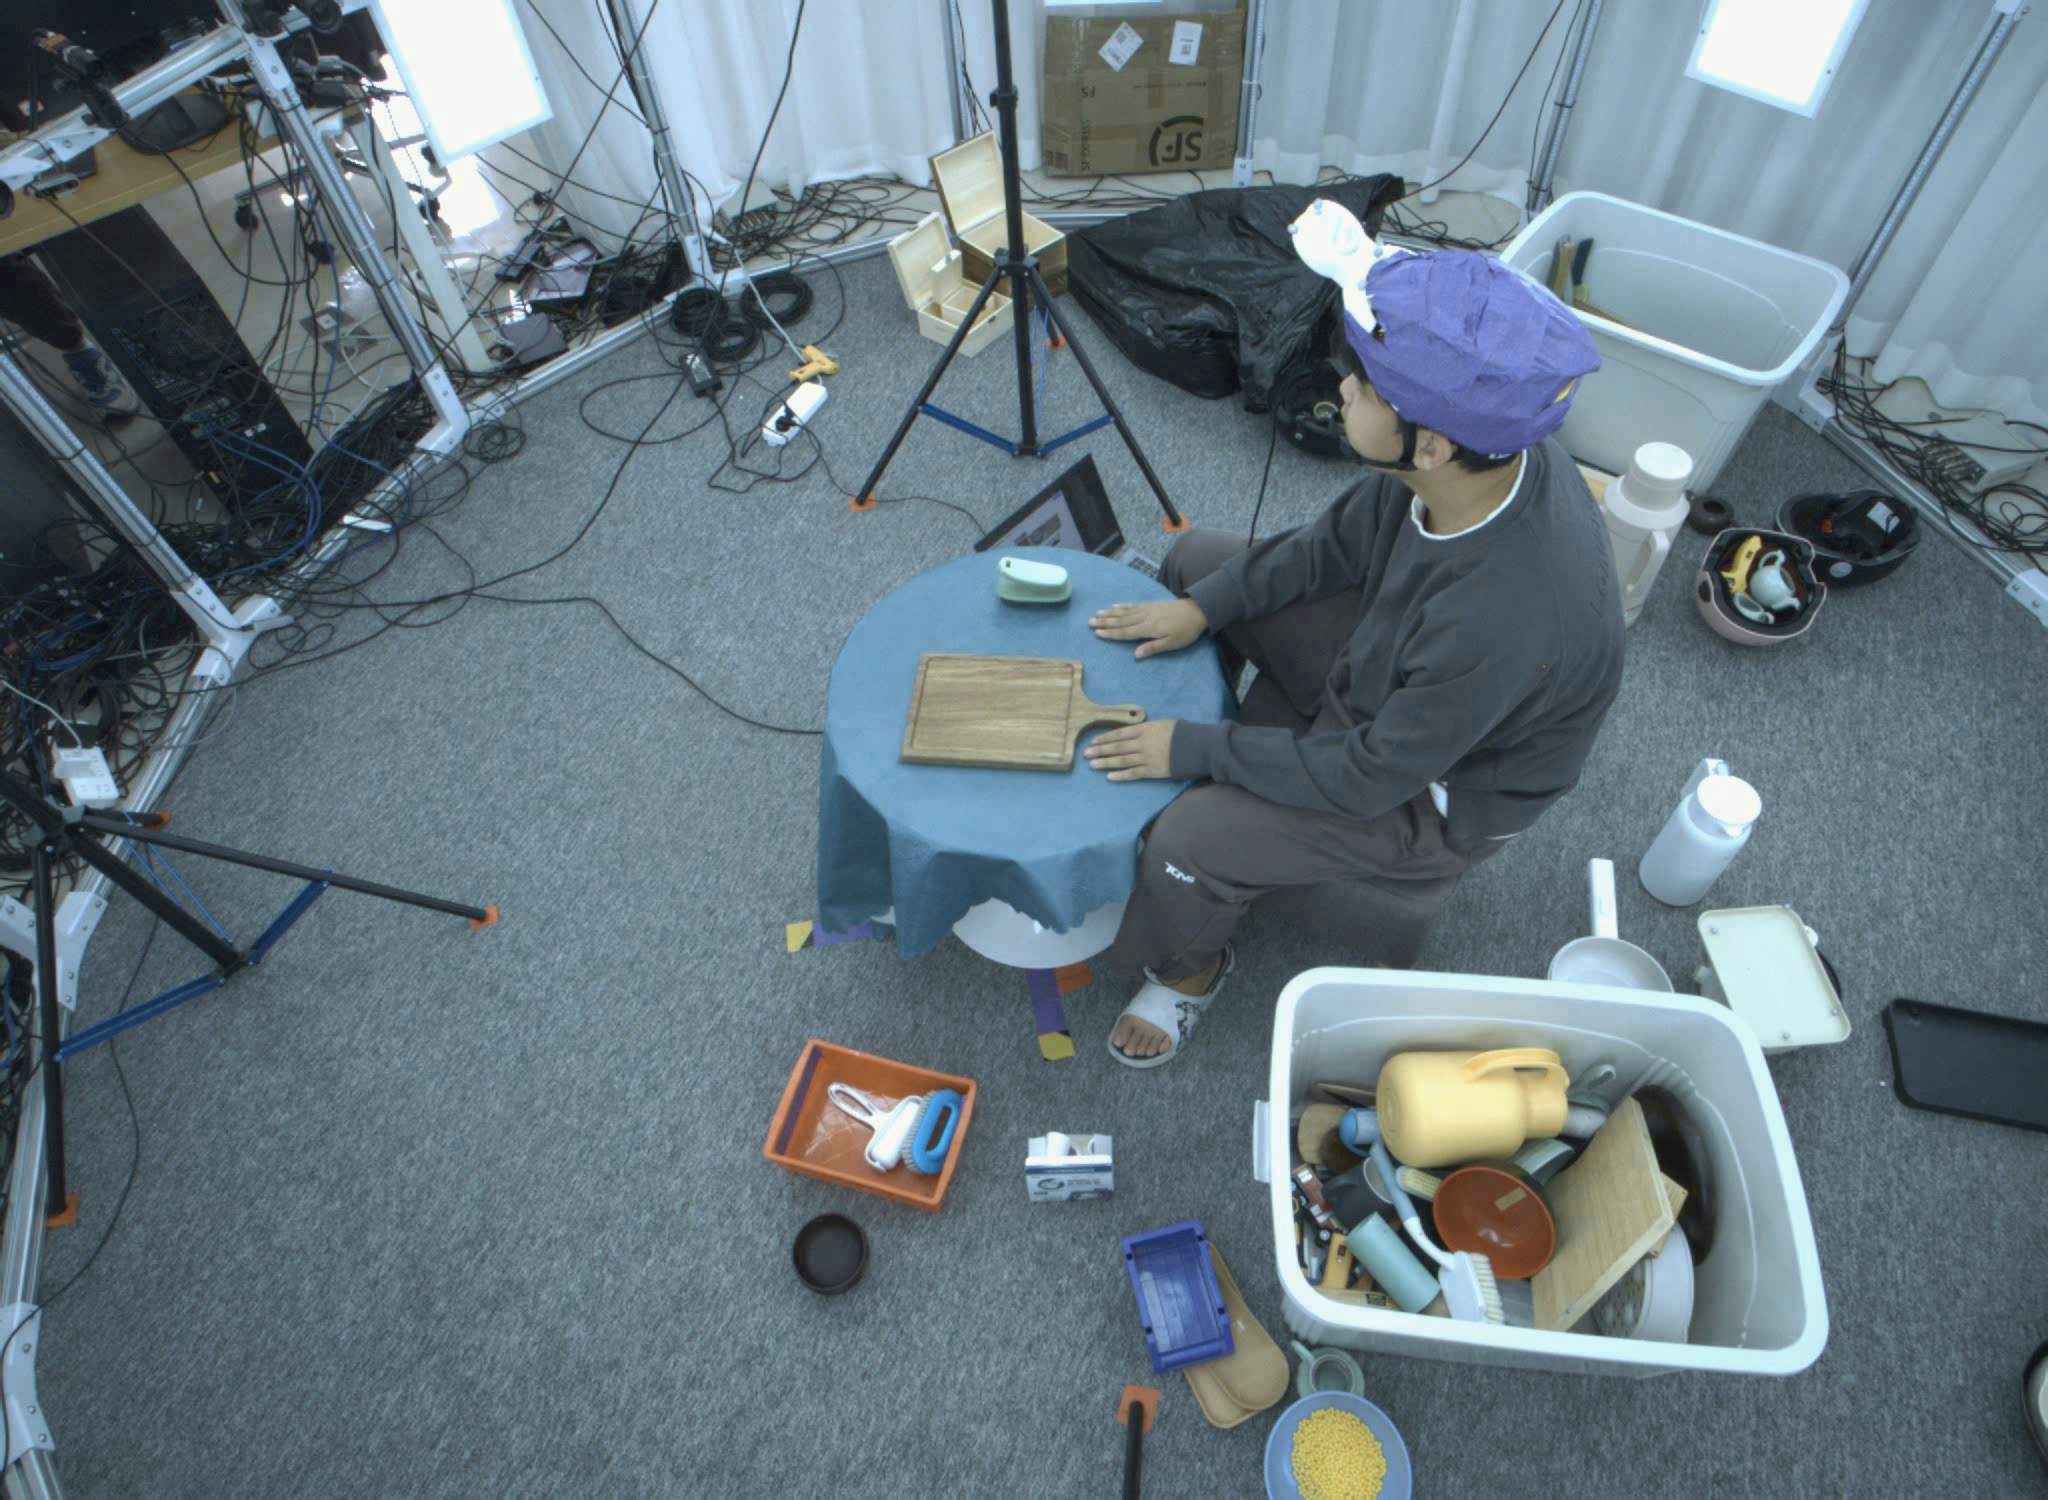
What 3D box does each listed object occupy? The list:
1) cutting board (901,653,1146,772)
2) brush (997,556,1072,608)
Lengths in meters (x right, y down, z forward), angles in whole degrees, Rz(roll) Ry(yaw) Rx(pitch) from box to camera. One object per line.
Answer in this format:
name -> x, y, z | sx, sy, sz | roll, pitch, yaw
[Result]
cutting board -> 0.004, -0.055, 1.814 | 0.351, 0.023, 0.199 | 4, 55, 4
brush -> 0.013, -0.262, 1.940 | 0.124, 0.076, 0.059 | 10, 55, -8
